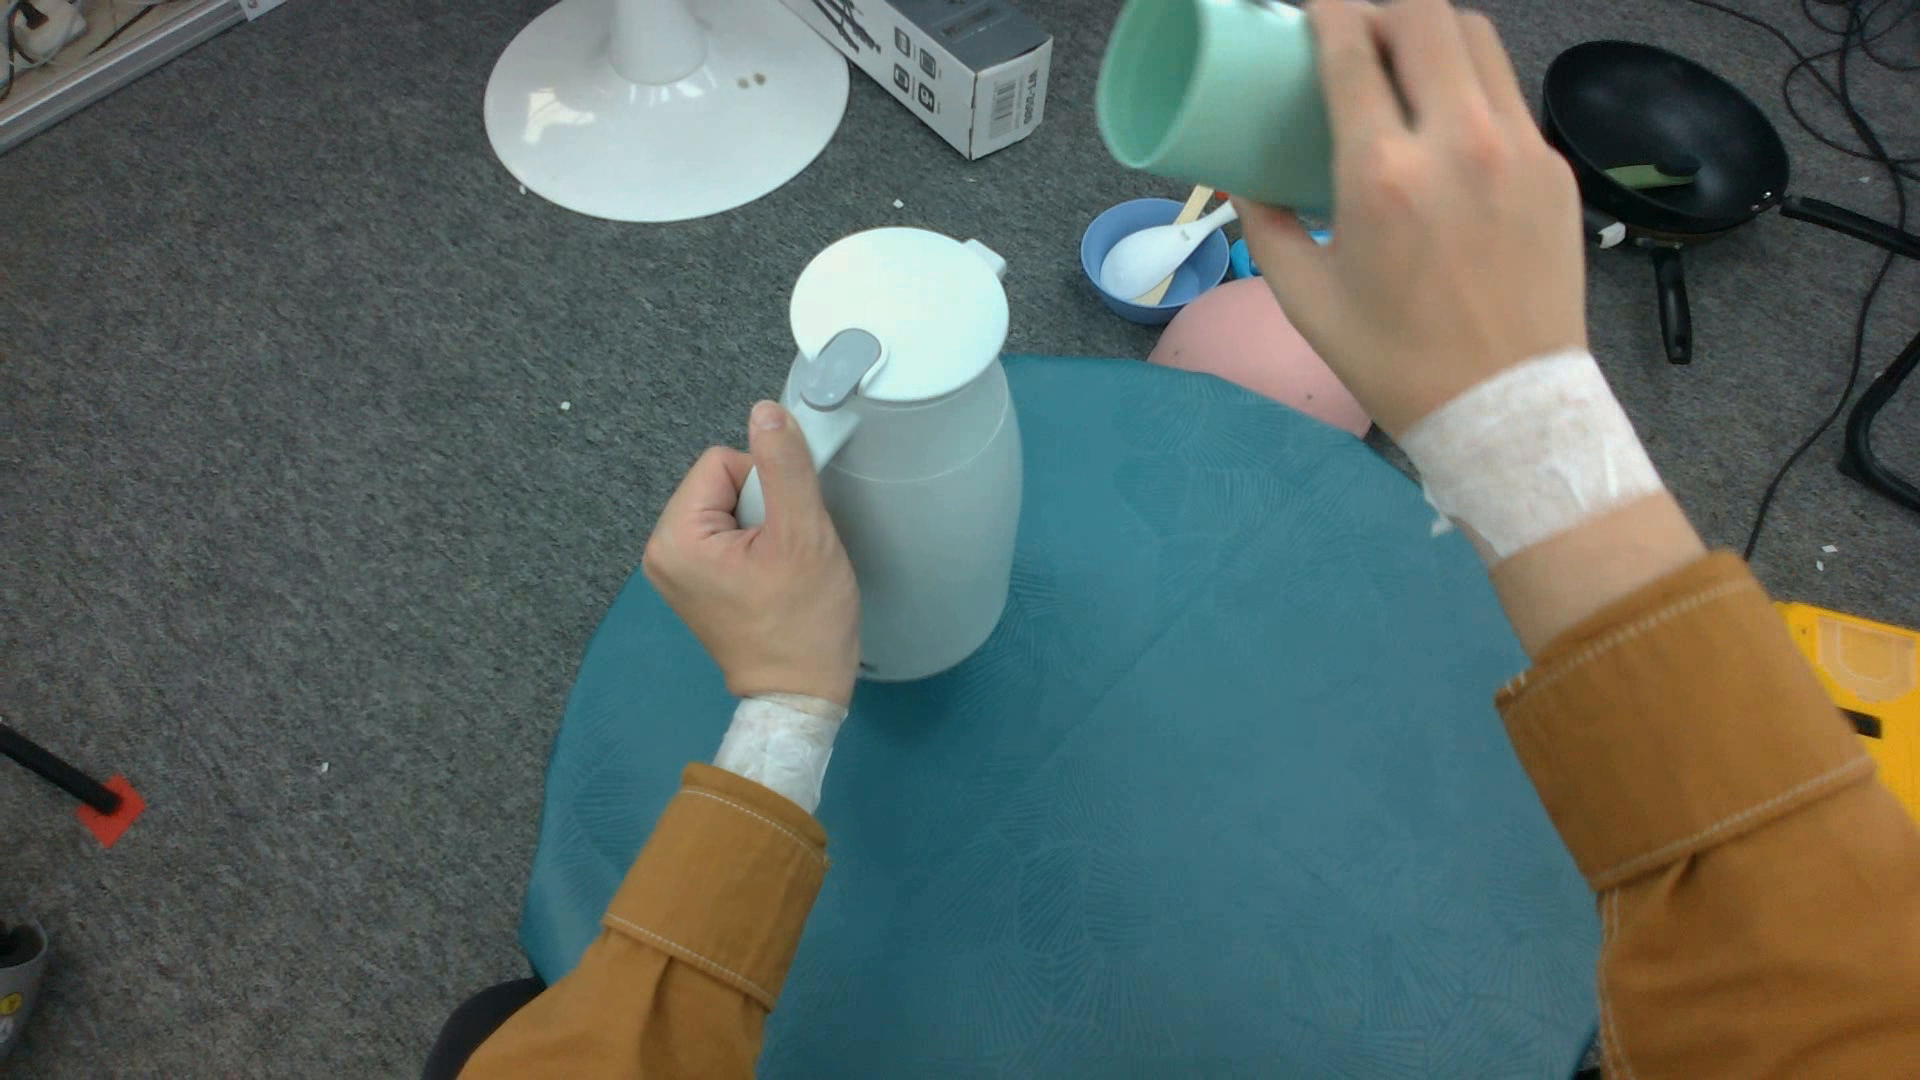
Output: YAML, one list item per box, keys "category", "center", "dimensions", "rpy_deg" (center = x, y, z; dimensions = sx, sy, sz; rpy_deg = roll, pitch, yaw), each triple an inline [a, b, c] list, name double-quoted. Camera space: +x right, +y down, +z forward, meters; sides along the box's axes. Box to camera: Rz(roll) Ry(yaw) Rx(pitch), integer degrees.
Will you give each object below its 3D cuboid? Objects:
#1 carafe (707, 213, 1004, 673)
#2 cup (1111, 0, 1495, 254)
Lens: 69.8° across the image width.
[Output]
- category: "carafe"
  center: [-0.053, -0.031, 0.667]
  dimensions: [0.132, 0.247, 0.168]
  rpy_deg: [35, 65, 16]
- category: "cup"
  center: [0.126, -0.151, 0.500]
  dimensions: [0.132, 0.066, 0.067]
  rpy_deg: [10, 53, -32]
